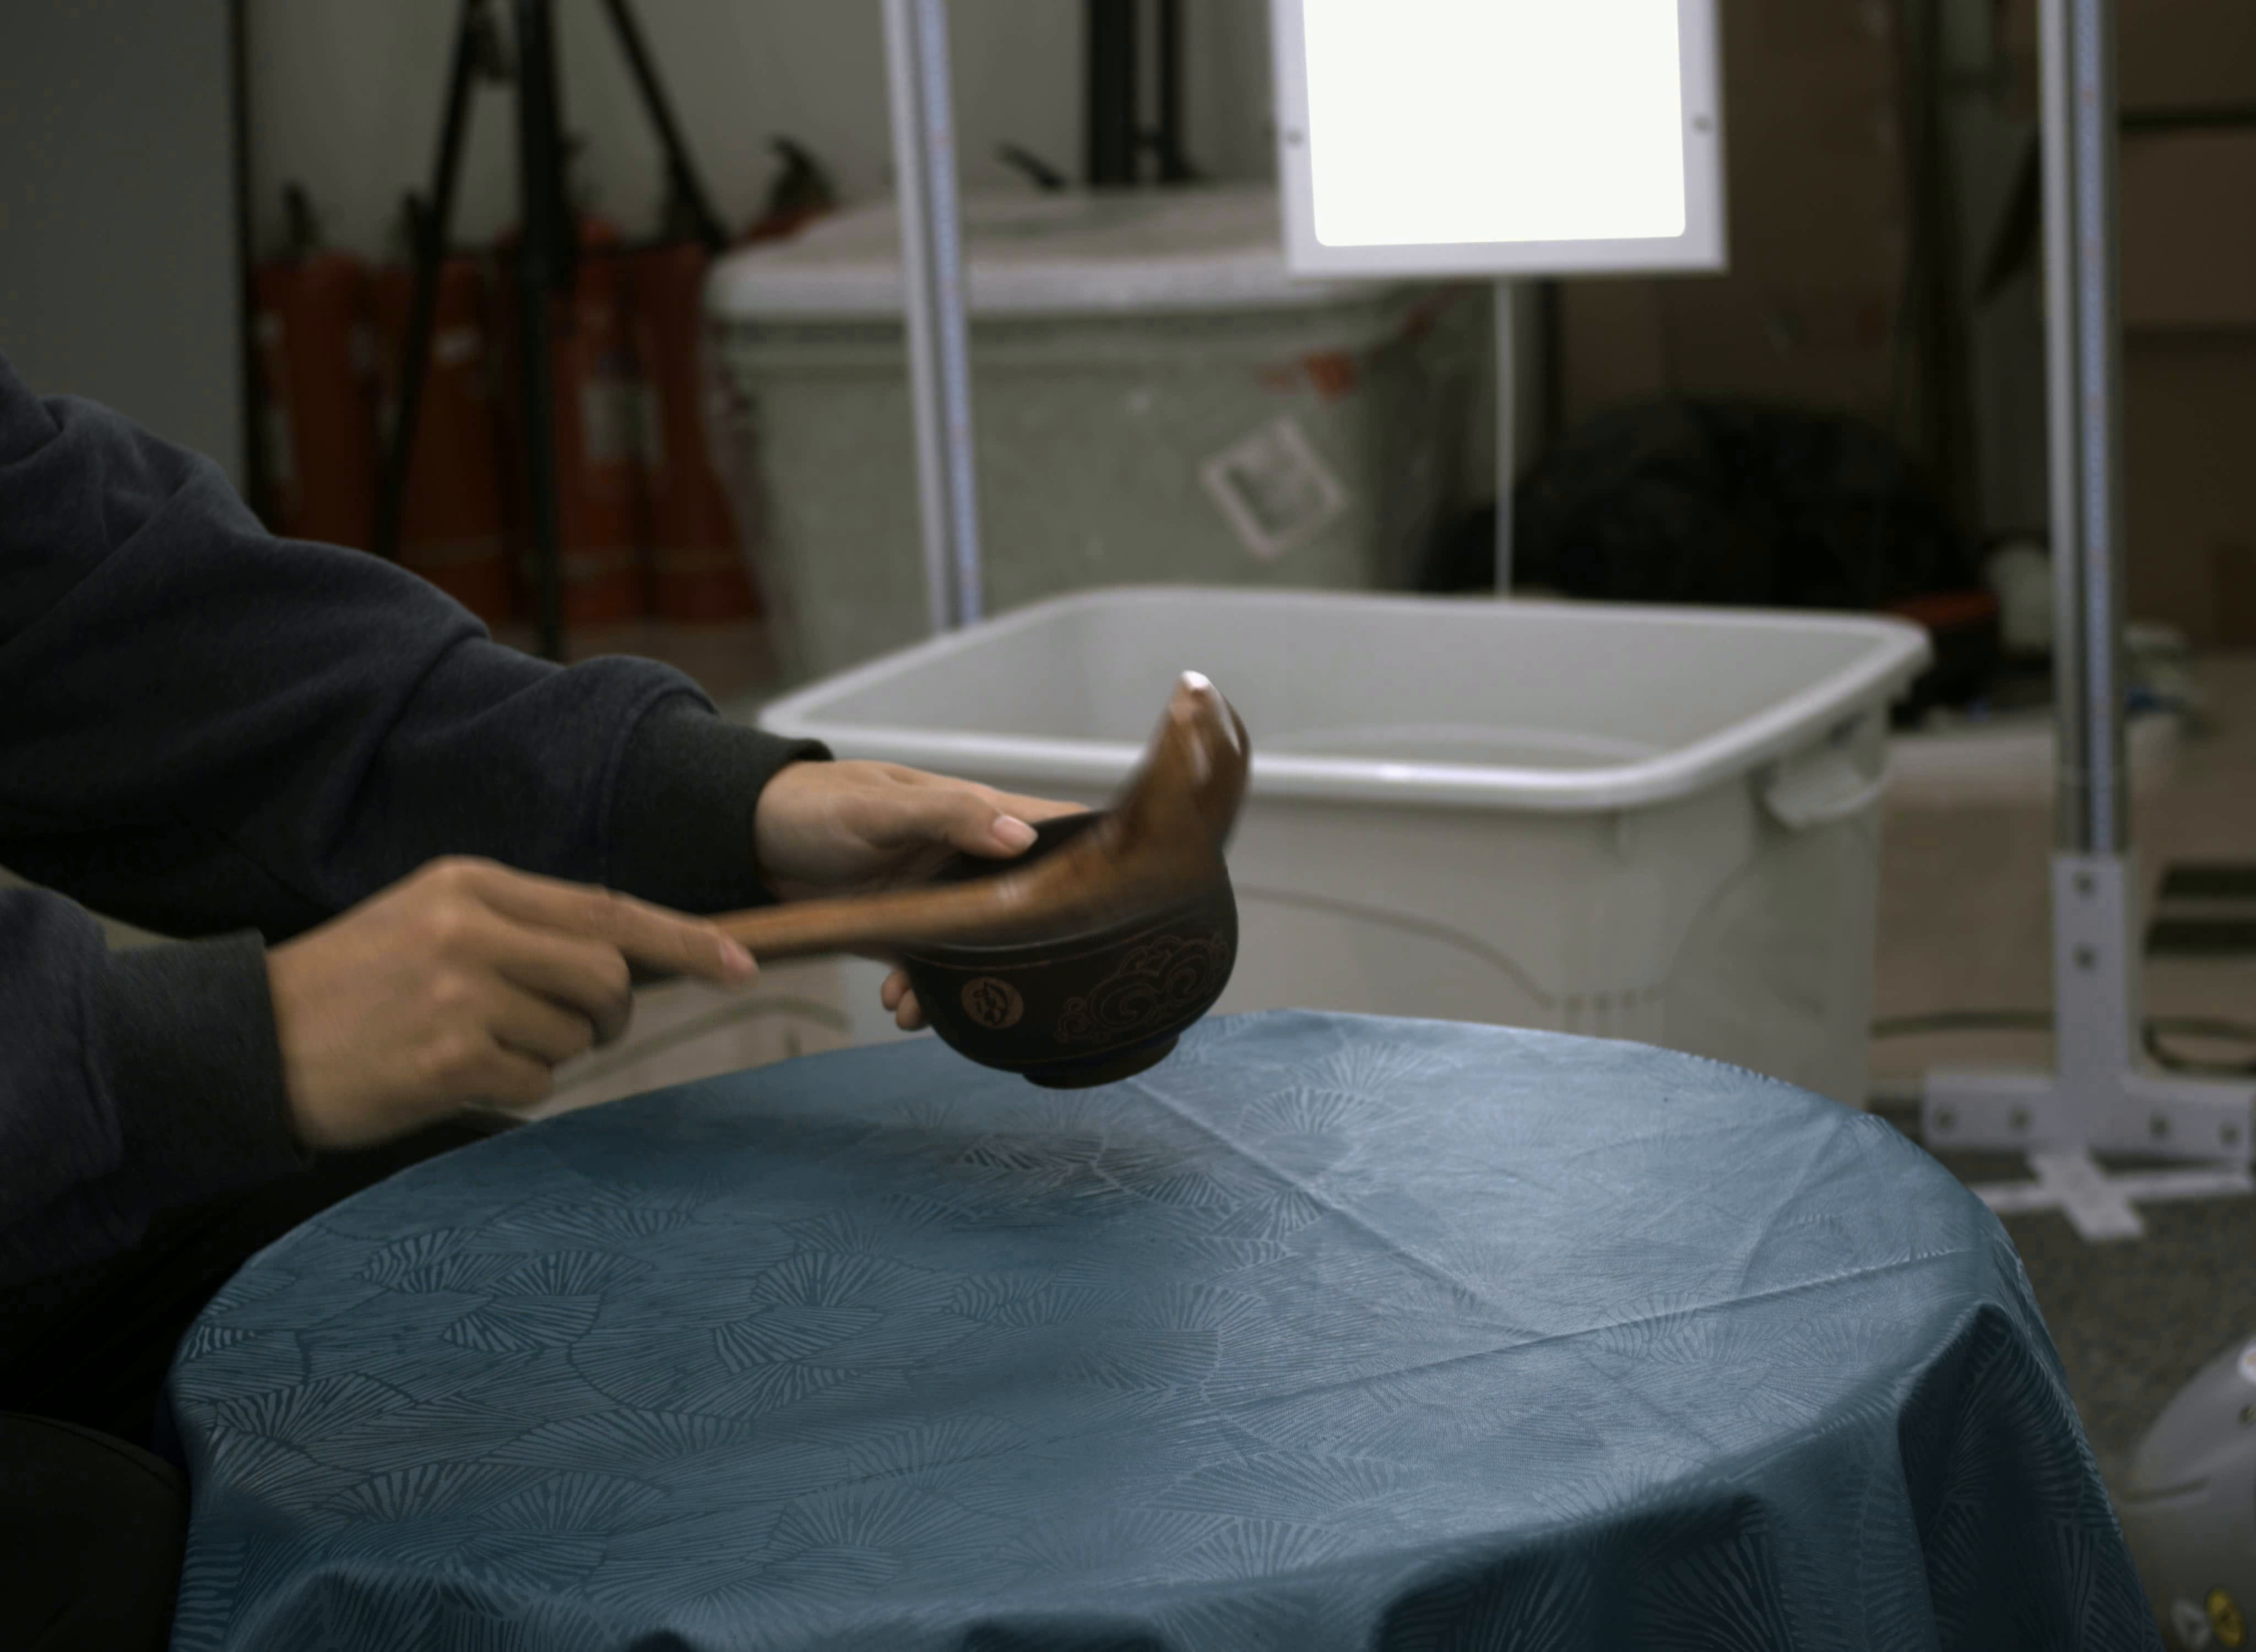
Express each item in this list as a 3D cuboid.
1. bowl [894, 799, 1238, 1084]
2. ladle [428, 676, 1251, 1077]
[{"bbox_3d":[-0.017,0.046,1.911,0.118,0.070,0.118,-14,22,4],"label":"bowl"},{"bbox_3d":[-0.089,0.014,1.707,0.271,0.082,0.077,-11,56,-10],"label":"ladle"}]
